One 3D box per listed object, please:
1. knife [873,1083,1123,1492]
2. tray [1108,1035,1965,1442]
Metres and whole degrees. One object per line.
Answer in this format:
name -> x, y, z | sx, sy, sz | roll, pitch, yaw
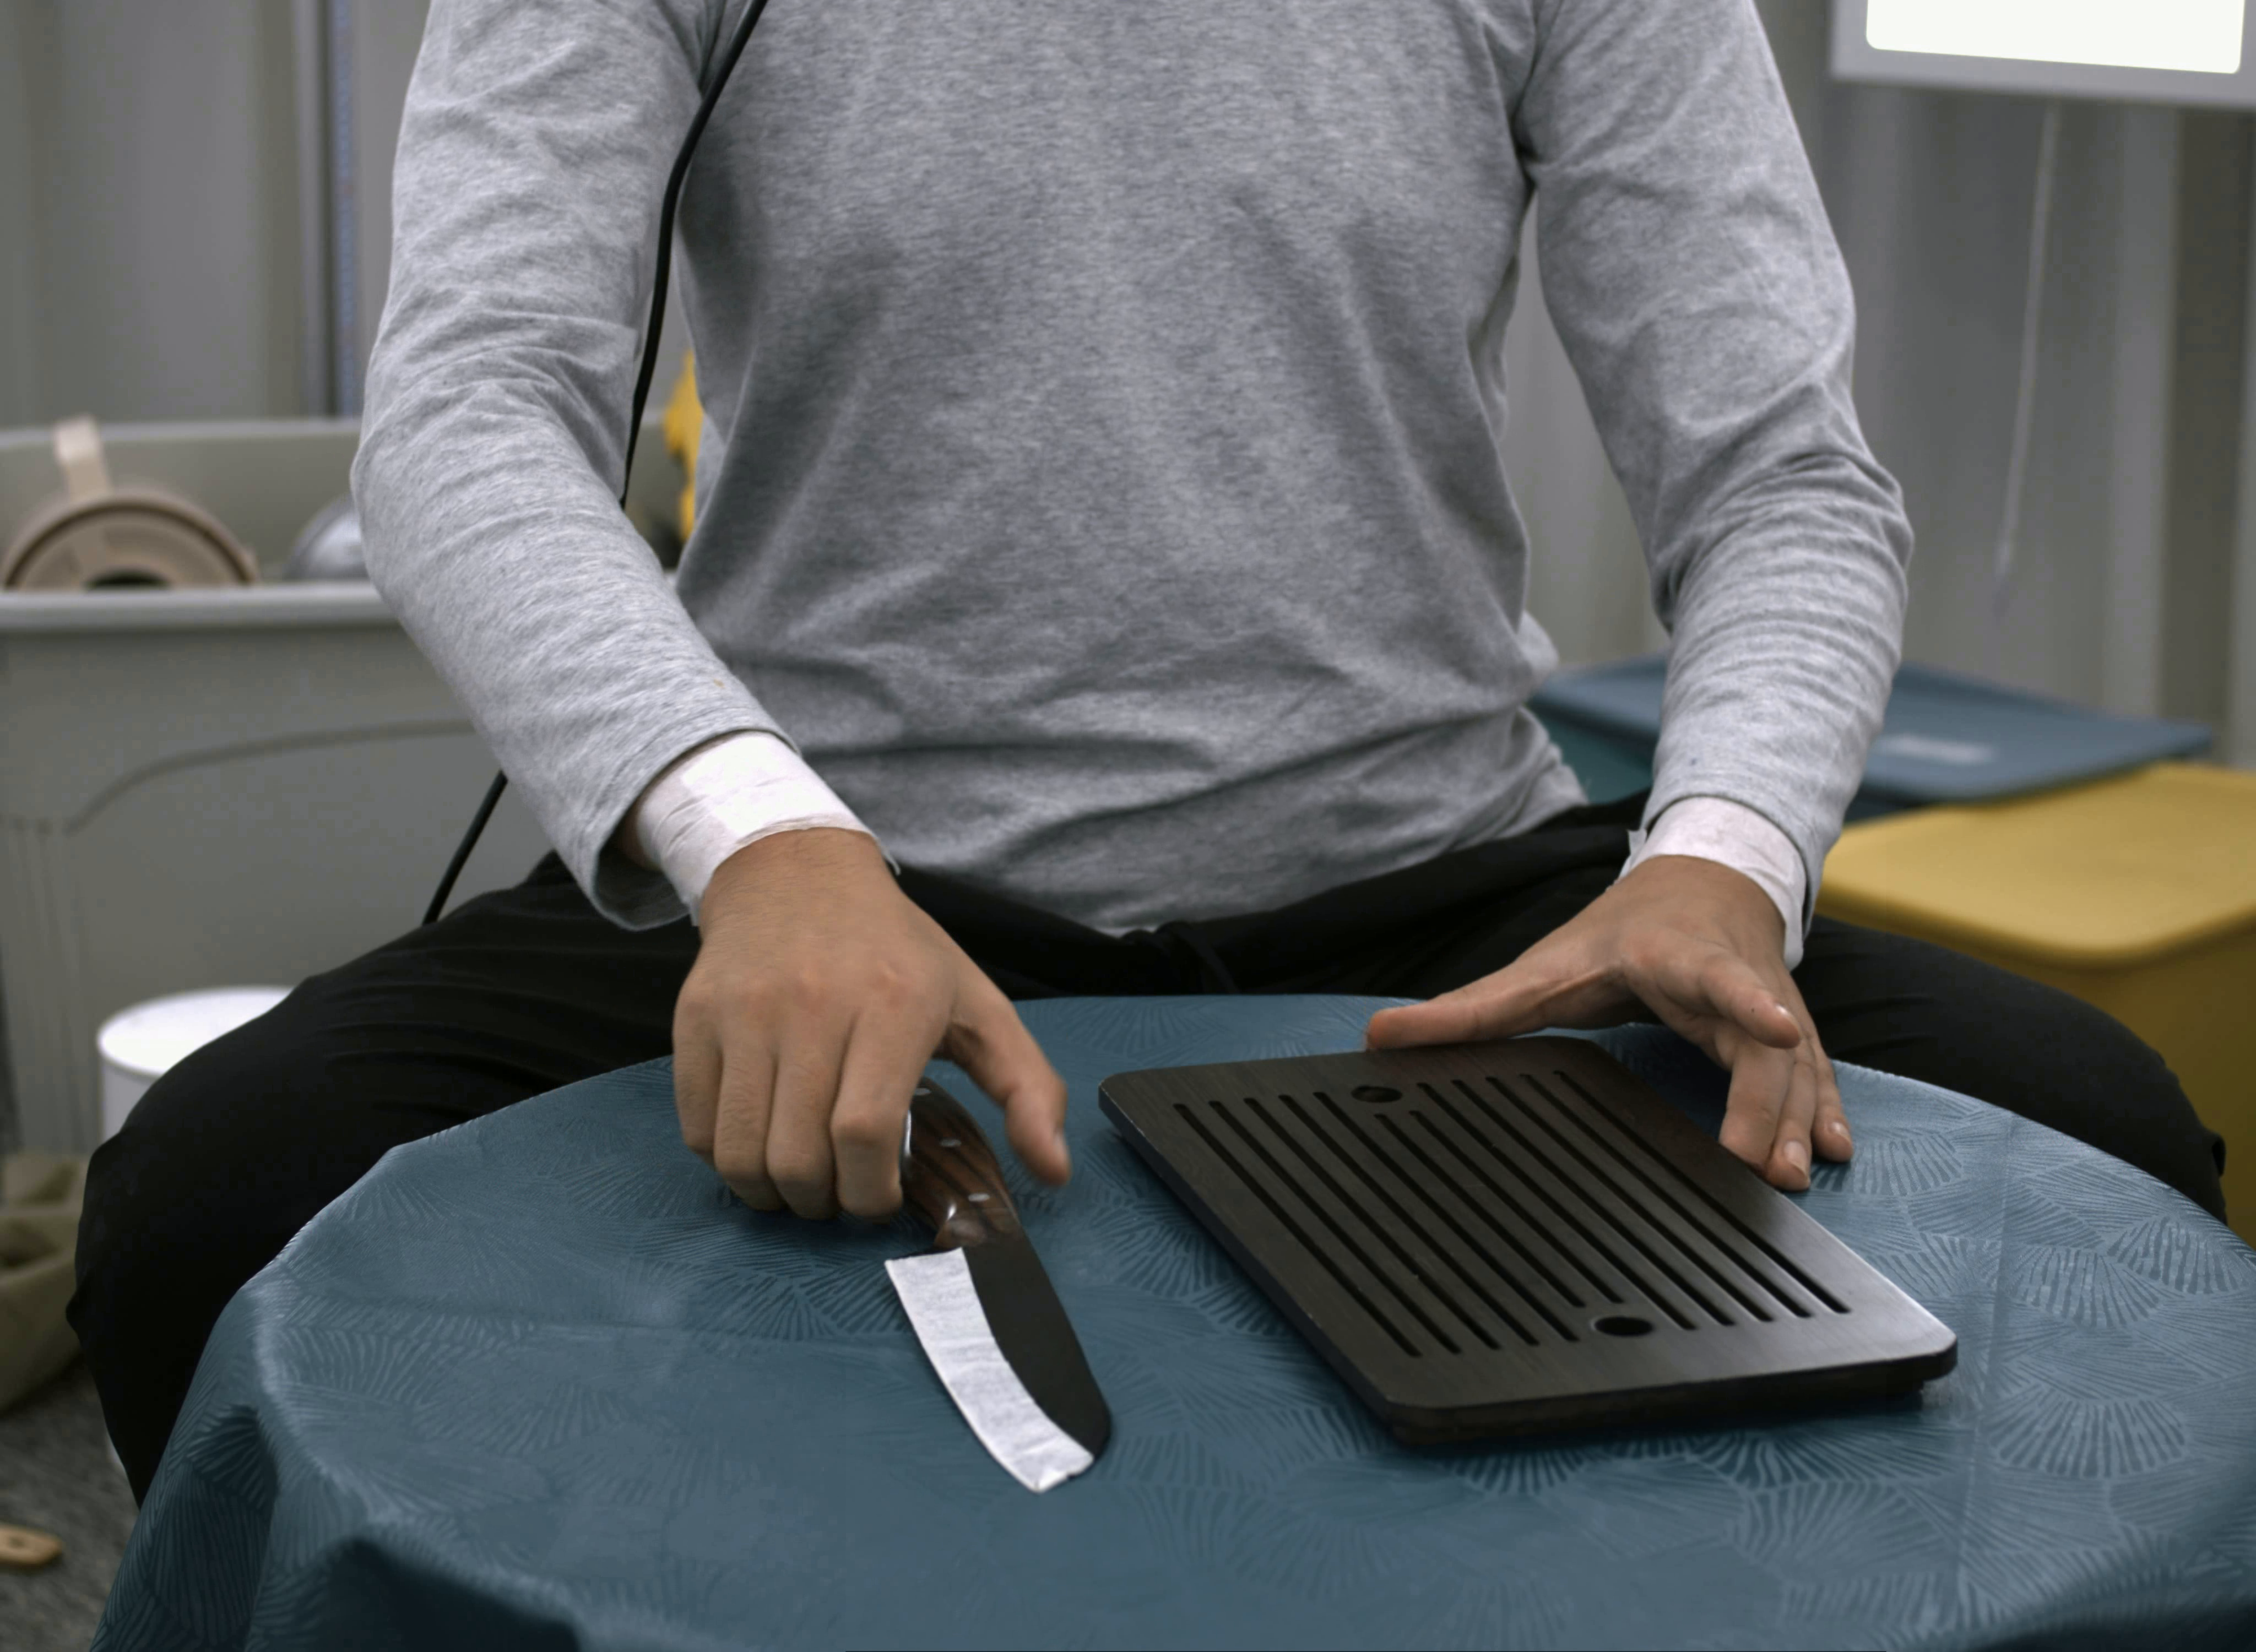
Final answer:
knife -> -0.043, 0.132, 1.525 | 0.050, 0.020, 0.286 | -7, 19, -8
tray -> 0.113, 0.119, 1.572 | 0.170, 0.019, 0.303 | -4, 16, -15
